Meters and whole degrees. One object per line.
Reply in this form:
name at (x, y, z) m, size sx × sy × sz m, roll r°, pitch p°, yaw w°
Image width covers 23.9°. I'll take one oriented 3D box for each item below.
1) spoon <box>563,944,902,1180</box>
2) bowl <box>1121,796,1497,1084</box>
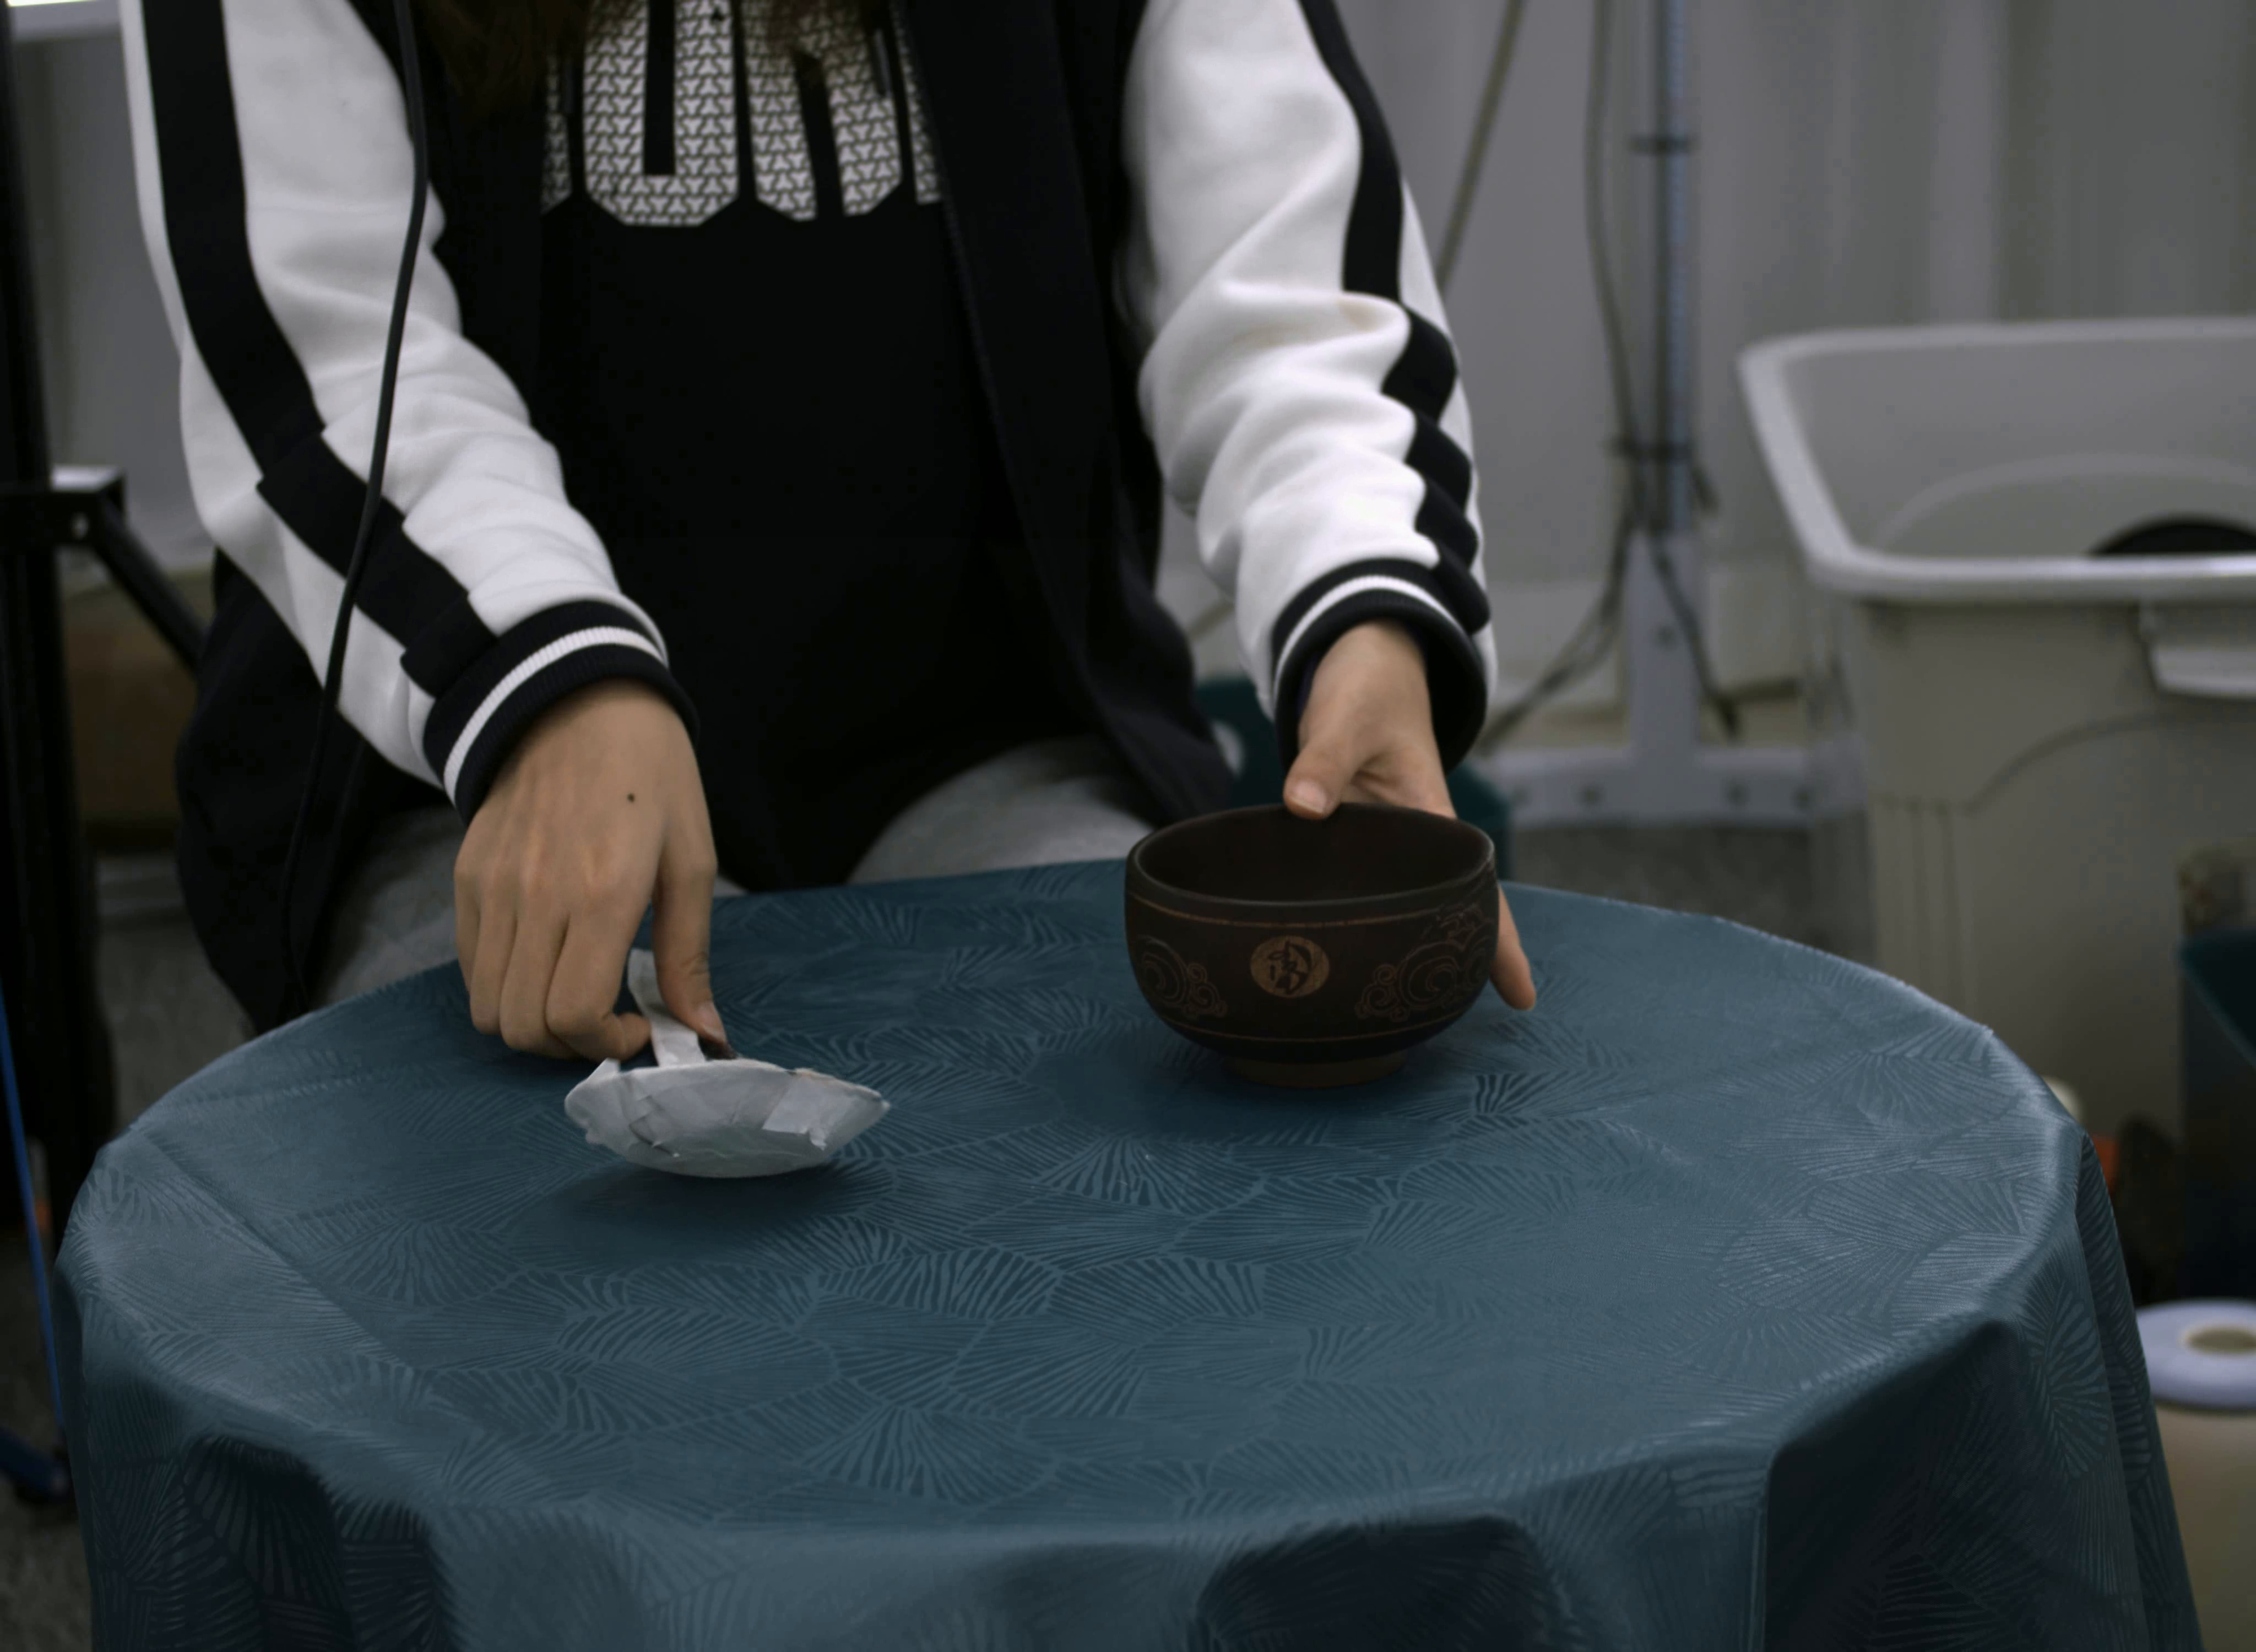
spoon at (-0.128, 0.056, 1.658) m, size 0.099 × 0.059 × 0.280 m, roll 5°, pitch 15°, yaw -8°
bowl at (0.057, 0.039, 1.658) m, size 0.117 × 0.070 × 0.118 m, roll -2°, pitch 15°, yaw -1°
